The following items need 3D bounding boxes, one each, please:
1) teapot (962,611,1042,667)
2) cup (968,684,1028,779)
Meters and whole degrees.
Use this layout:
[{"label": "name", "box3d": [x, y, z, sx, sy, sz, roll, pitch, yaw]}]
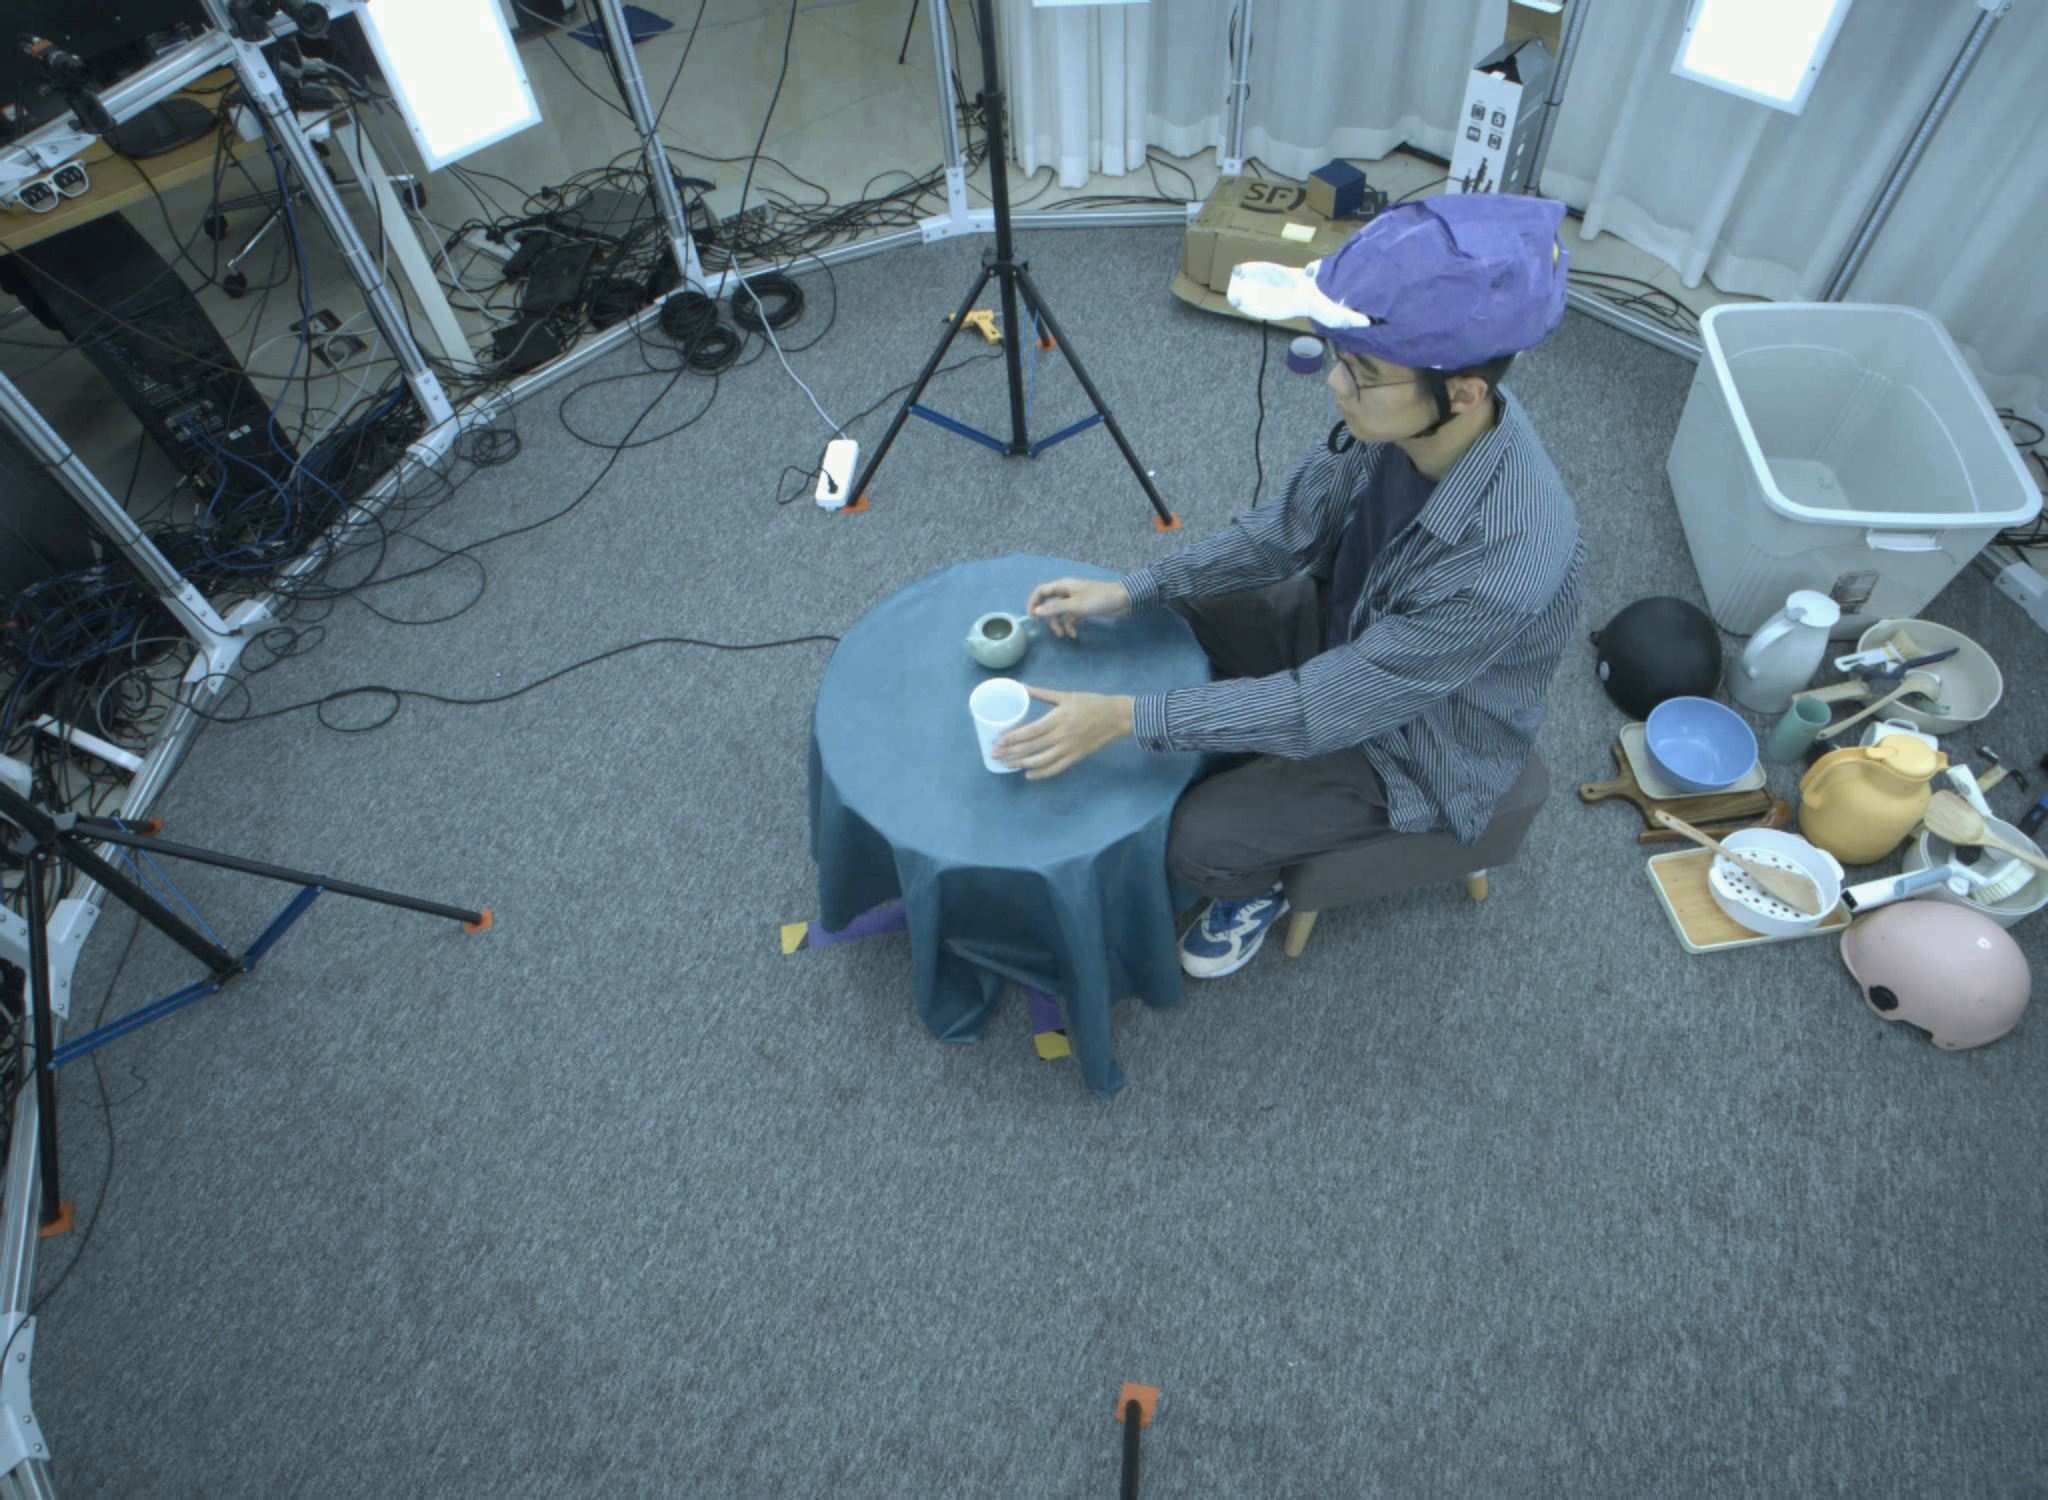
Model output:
[{"label": "teapot", "box3d": [-0.032, -0.172, 1.879, 0.129, 0.061, 0.090, -19, 54, -12]}, {"label": "cup", "box3d": [-0.032, -0.022, 1.728, 0.081, 0.127, 0.081, -1, 54, 3]}]
